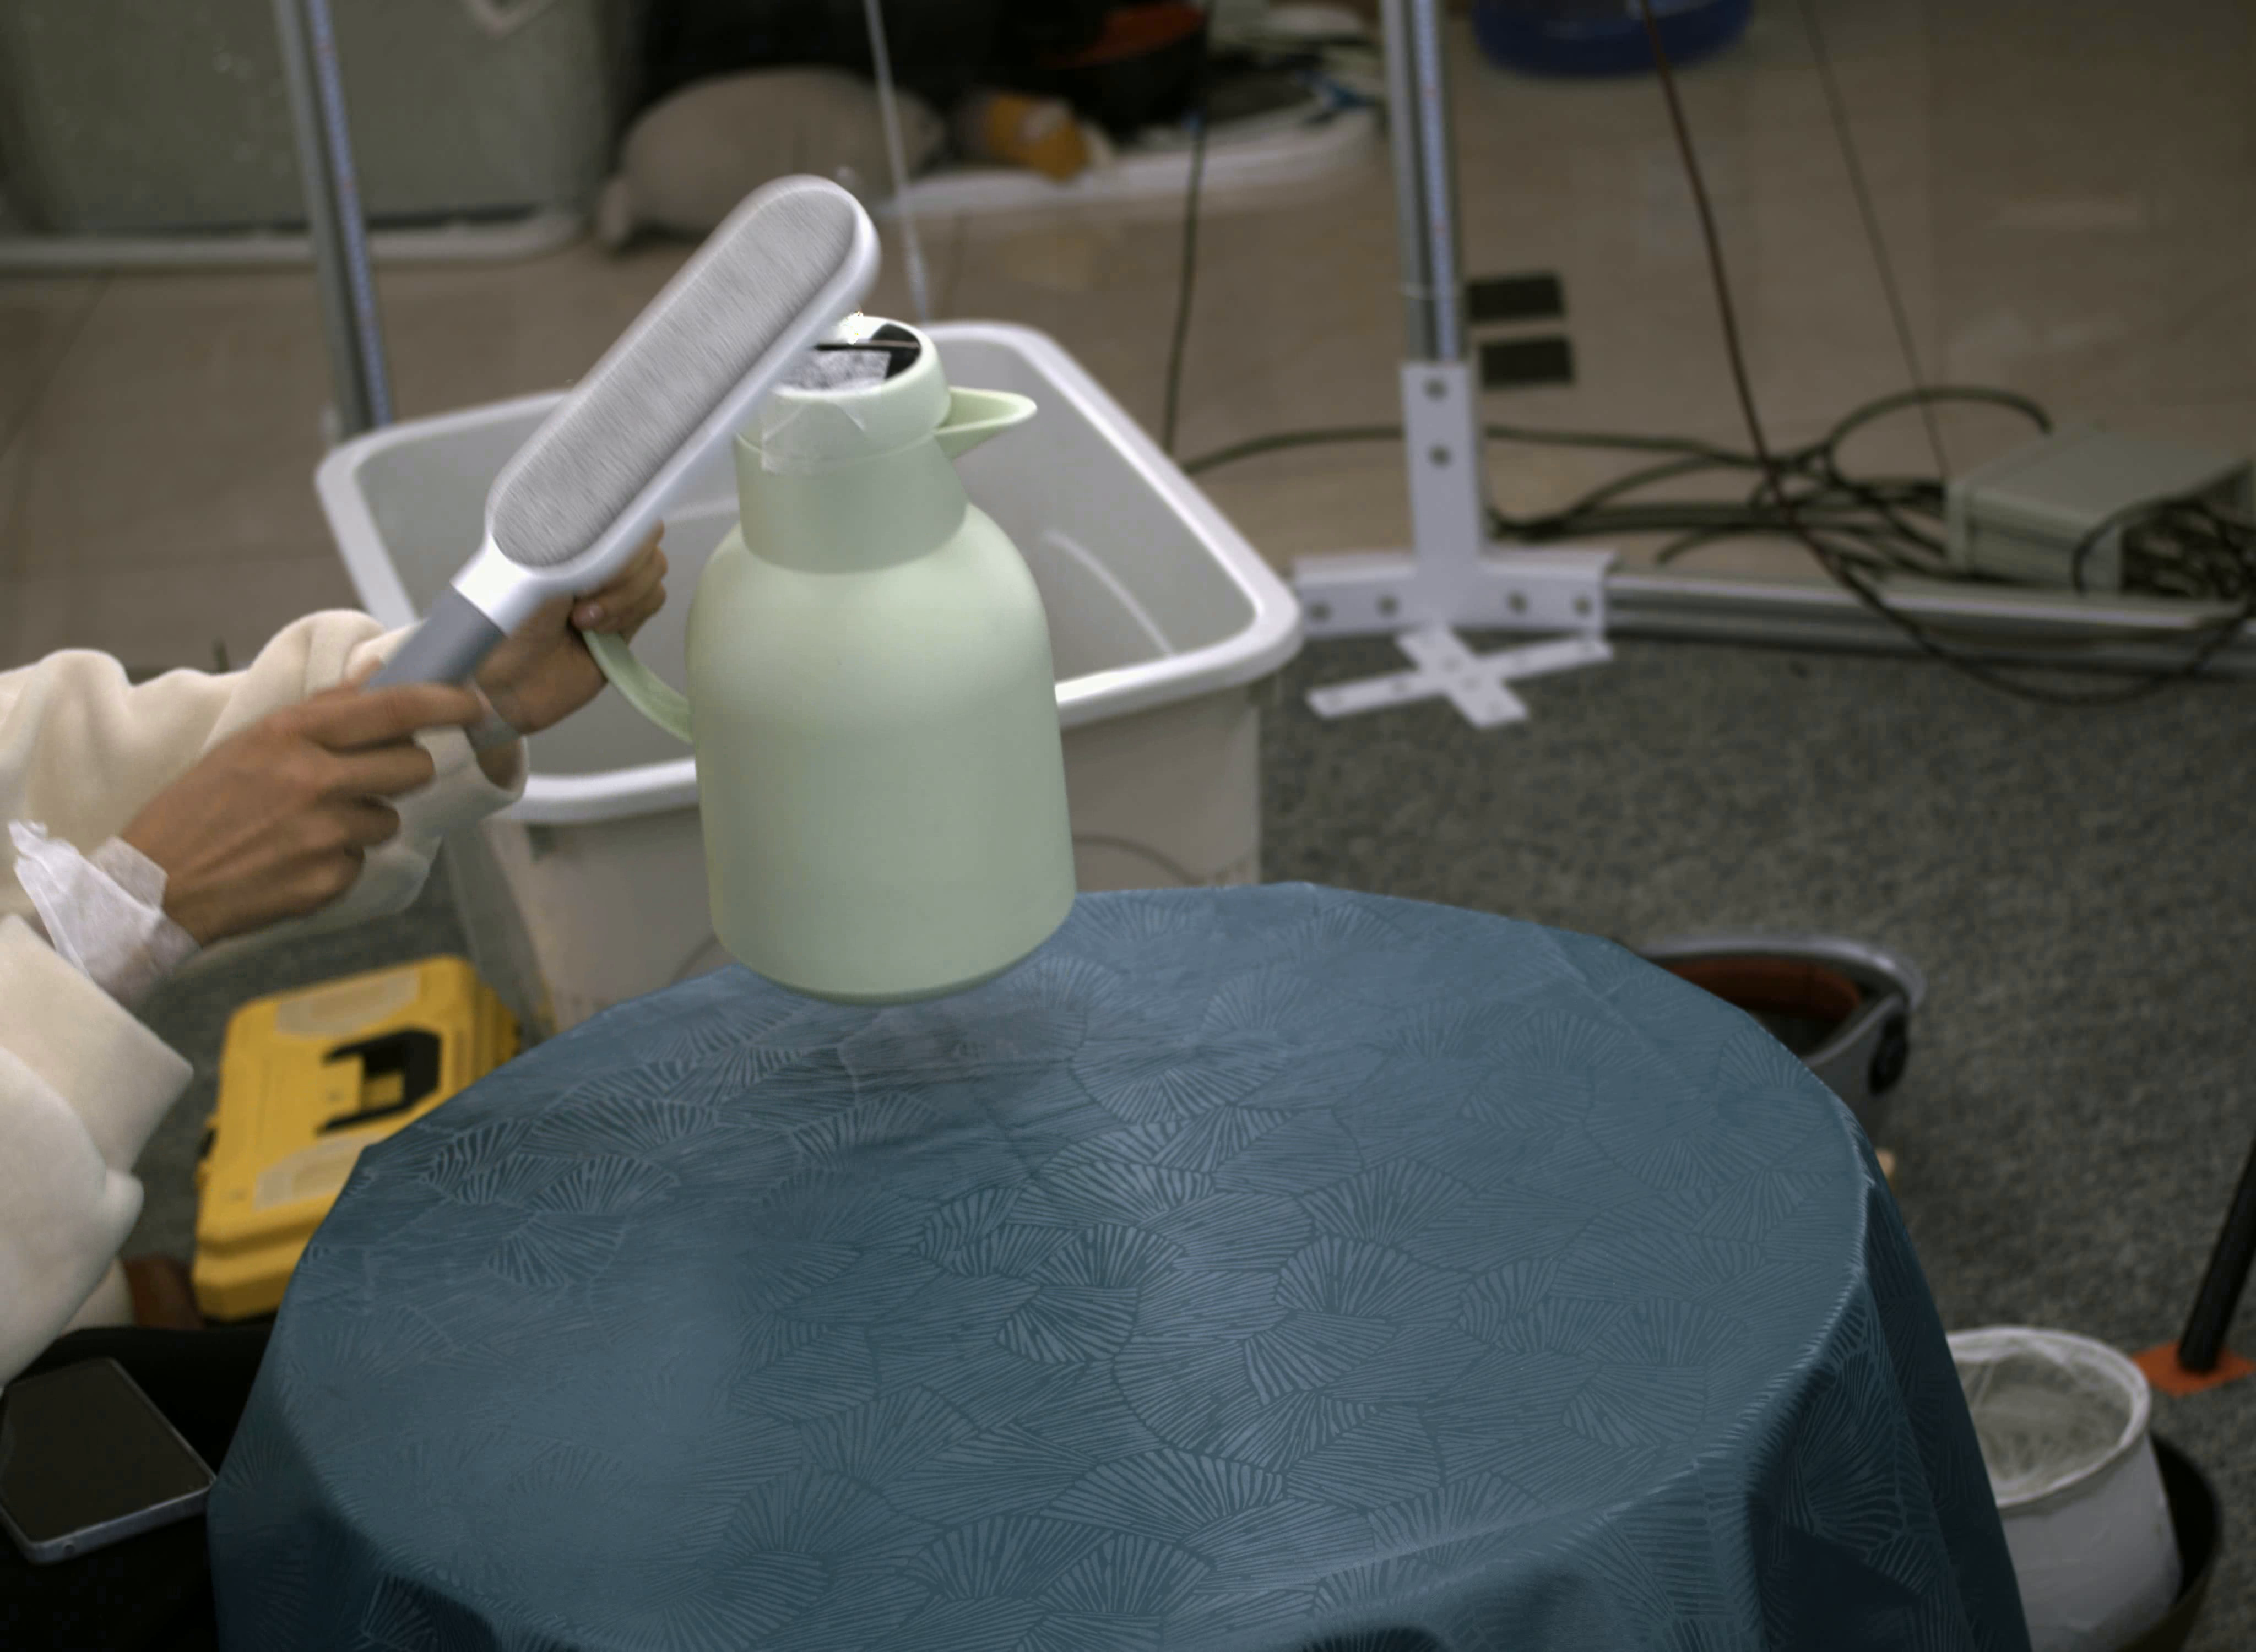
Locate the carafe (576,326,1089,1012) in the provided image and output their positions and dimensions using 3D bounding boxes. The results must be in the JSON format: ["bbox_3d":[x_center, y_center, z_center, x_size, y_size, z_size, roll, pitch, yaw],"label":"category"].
[{"bbox_3d":[-0.112,-0.065,2.184,0.186,0.261,0.142,-5,32,8],"label":"carafe"}]

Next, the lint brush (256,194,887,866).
[{"bbox_3d":[-0.197,-0.105,1.985,0.059,0.021,0.308,41,86,27],"label":"lint brush"}]
